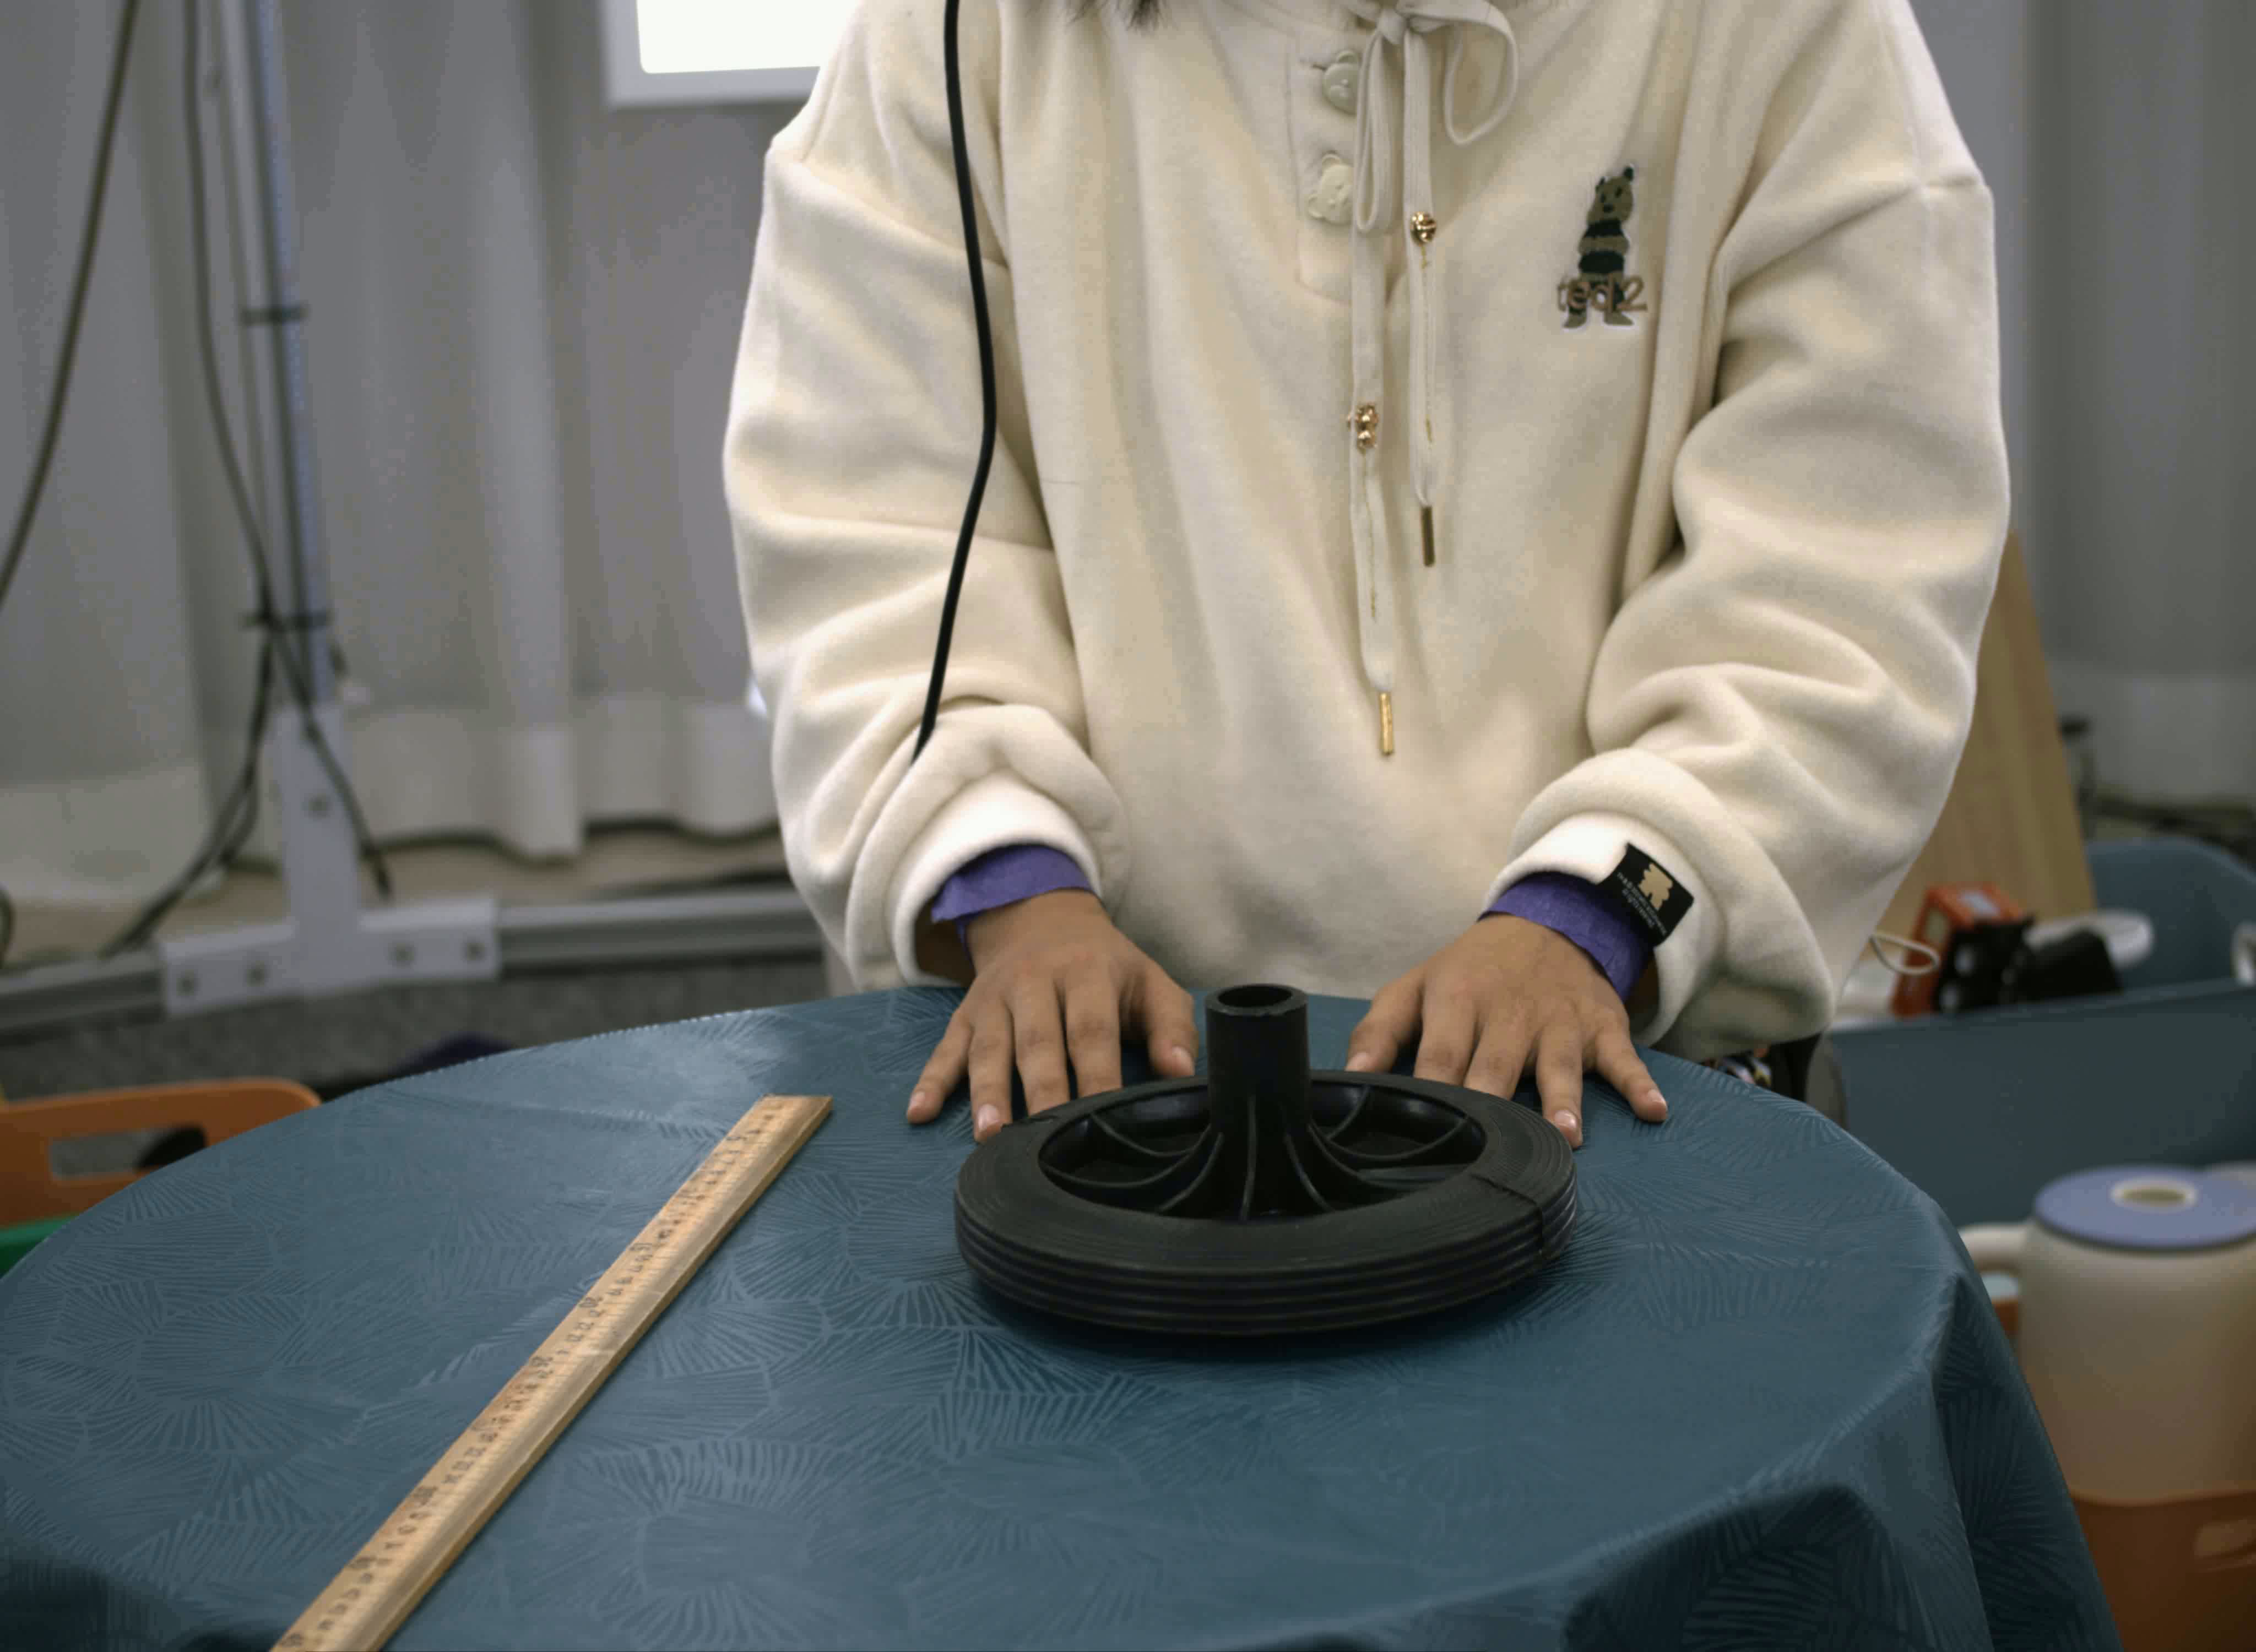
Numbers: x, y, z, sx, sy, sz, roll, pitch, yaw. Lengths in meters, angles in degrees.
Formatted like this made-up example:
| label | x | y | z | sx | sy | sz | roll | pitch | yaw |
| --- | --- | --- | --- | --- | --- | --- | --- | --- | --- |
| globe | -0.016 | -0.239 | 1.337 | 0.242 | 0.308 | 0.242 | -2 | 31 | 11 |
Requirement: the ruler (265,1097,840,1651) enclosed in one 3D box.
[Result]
| label | x | y | z | sx | sy | sz | roll | pitch | yaw |
| --- | --- | --- | --- | --- | --- | --- | --- | --- | --- |
| ruler | -0.162 | 0.157 | 1.577 | 0.027 | 0.006 | 0.503 | -1 | 15 | 13 |

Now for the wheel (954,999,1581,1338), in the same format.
| label | x | y | z | sx | sy | sz | roll | pitch | yaw |
| --- | --- | --- | --- | --- | --- | --- | --- | --- | --- |
| wheel | 0.041 | 0.094 | 1.638 | 0.189 | 0.079 | 0.189 | -8 | 15 | -21 |
